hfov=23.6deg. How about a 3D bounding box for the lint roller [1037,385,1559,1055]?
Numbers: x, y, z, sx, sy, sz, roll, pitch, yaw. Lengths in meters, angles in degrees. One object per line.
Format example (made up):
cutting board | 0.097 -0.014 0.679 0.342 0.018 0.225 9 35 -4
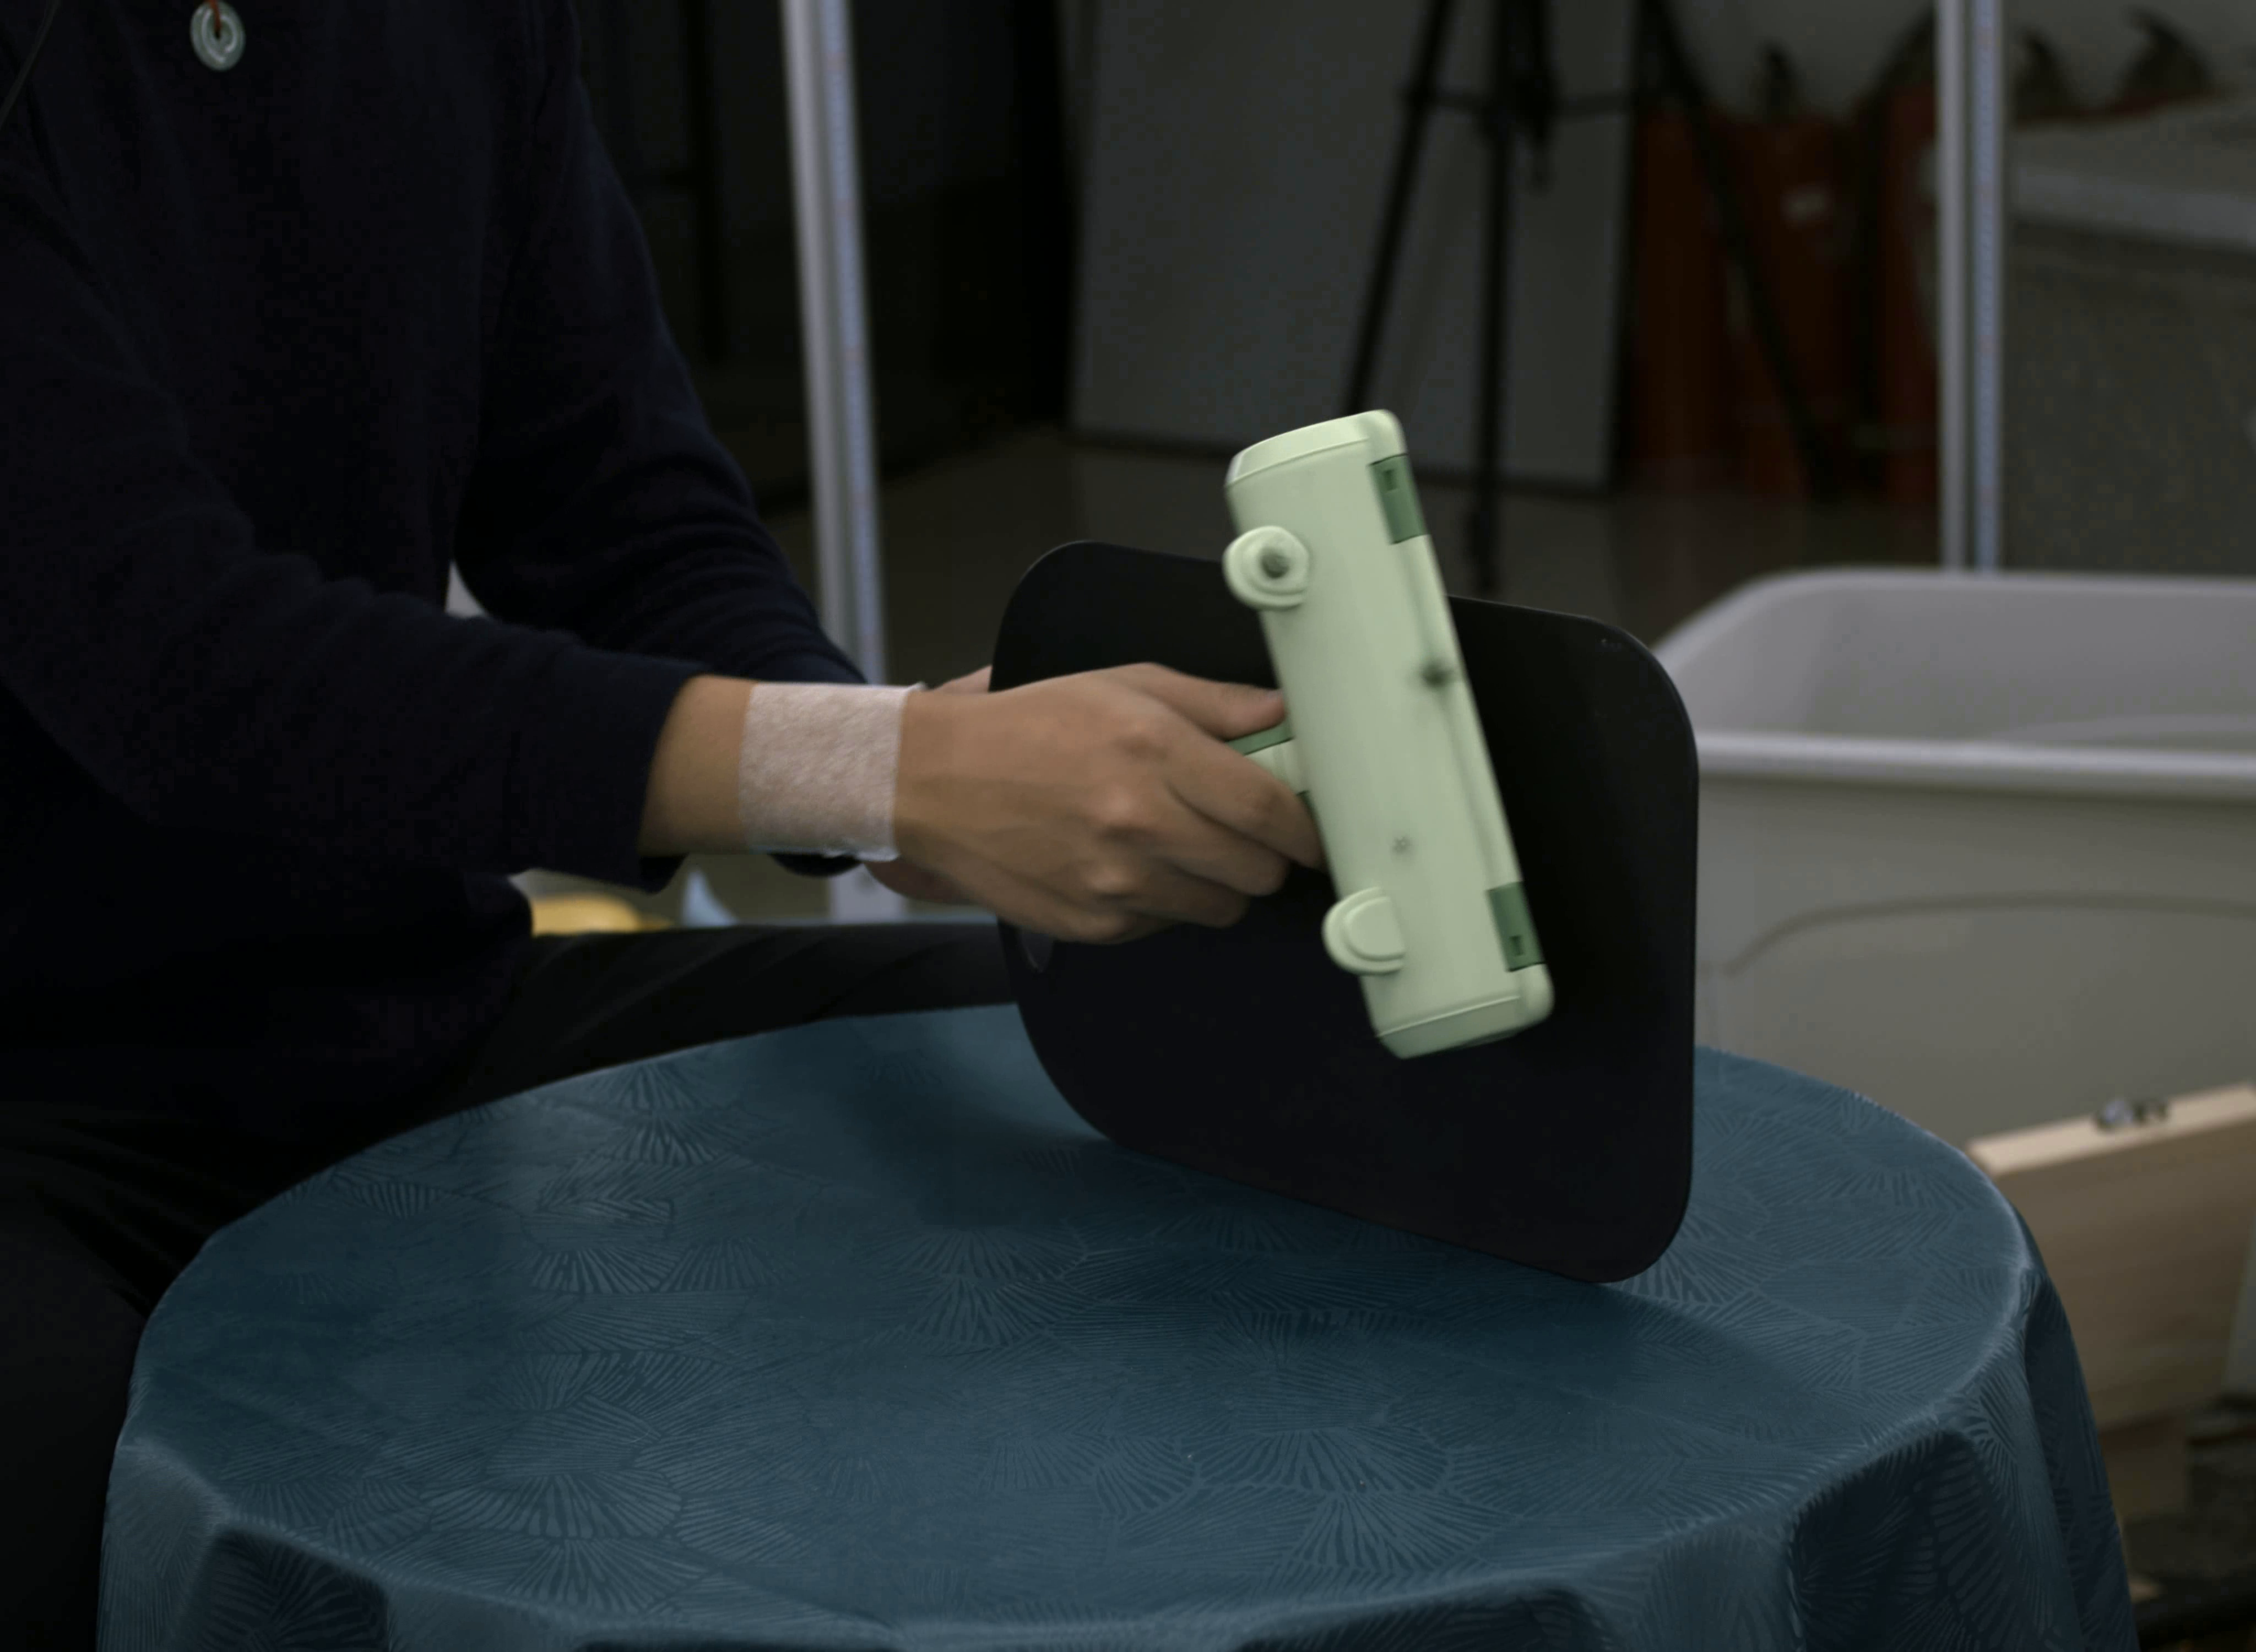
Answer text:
lint roller | 0.032 -0.015 1.661 0.184 0.201 0.081 -19 -8 31

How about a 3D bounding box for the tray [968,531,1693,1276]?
tray | 0.058 0.019 1.721 0.009 0.213 0.328 -10 14 -41
